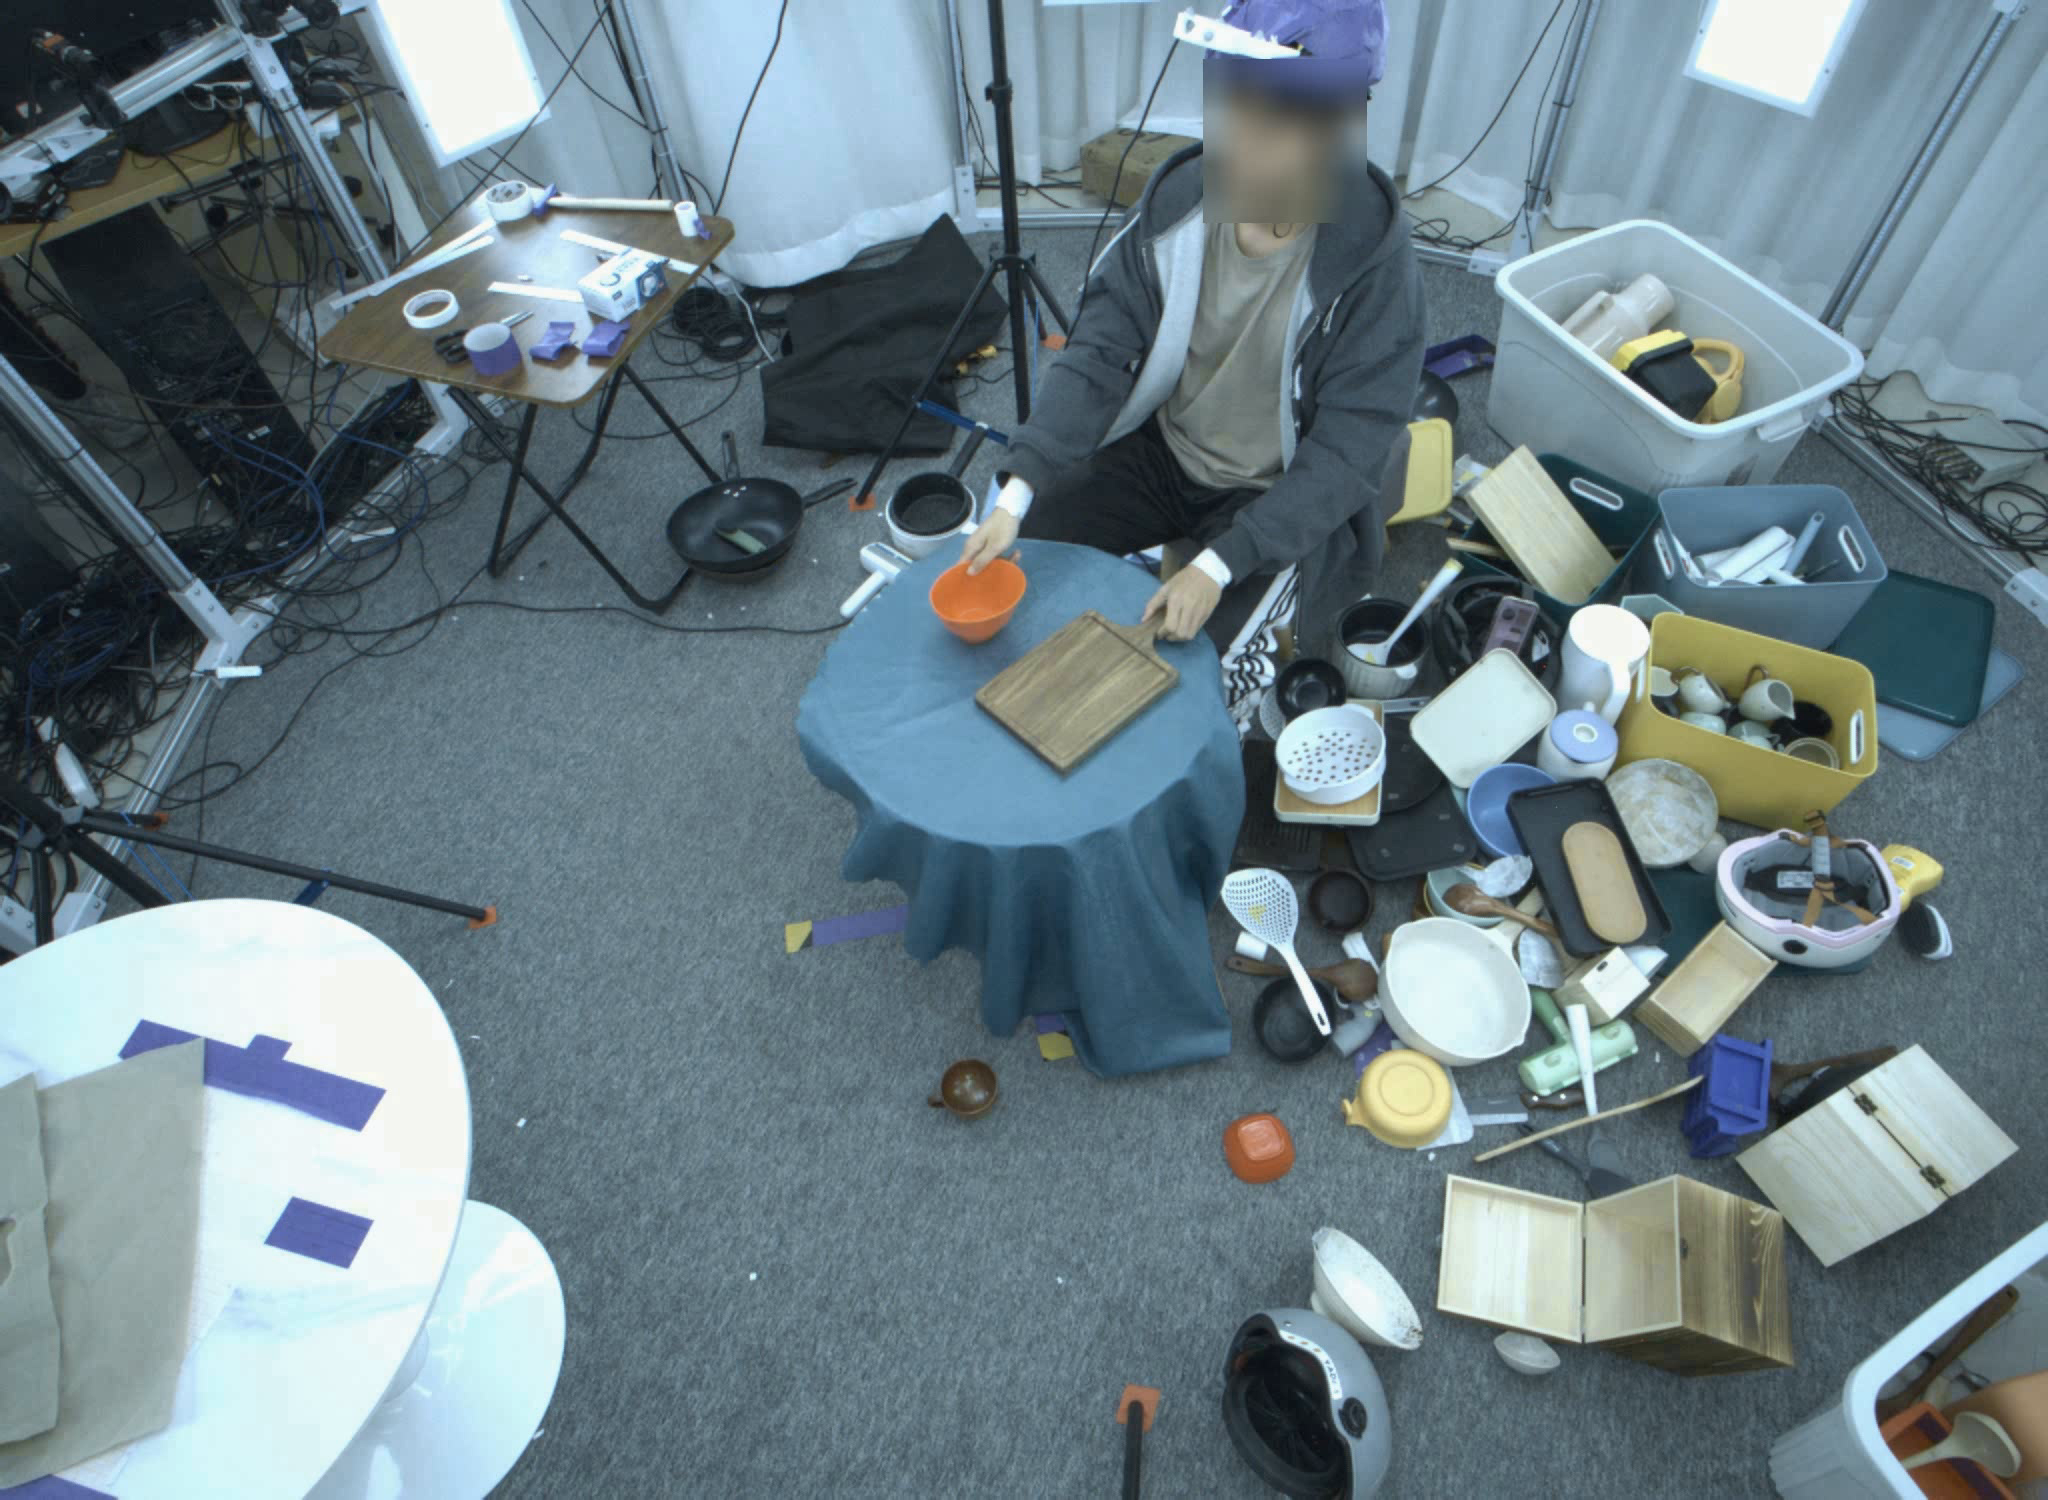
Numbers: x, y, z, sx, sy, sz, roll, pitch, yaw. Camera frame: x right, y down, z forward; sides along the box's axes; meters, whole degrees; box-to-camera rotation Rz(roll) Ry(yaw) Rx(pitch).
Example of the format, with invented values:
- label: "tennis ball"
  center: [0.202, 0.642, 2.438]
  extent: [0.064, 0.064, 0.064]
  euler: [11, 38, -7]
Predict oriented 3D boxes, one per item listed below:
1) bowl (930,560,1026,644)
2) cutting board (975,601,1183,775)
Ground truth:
- label: "bowl"
  center: [-0.069, -0.215, 1.883]
  extent: [0.148, 0.106, 0.146]
  euler: [0, 53, 1]
- label: "cutting board"
  center: [0.116, -0.122, 1.860]
  extent: [0.355, 0.023, 0.197]
  euler: [-39, 62, -23]
